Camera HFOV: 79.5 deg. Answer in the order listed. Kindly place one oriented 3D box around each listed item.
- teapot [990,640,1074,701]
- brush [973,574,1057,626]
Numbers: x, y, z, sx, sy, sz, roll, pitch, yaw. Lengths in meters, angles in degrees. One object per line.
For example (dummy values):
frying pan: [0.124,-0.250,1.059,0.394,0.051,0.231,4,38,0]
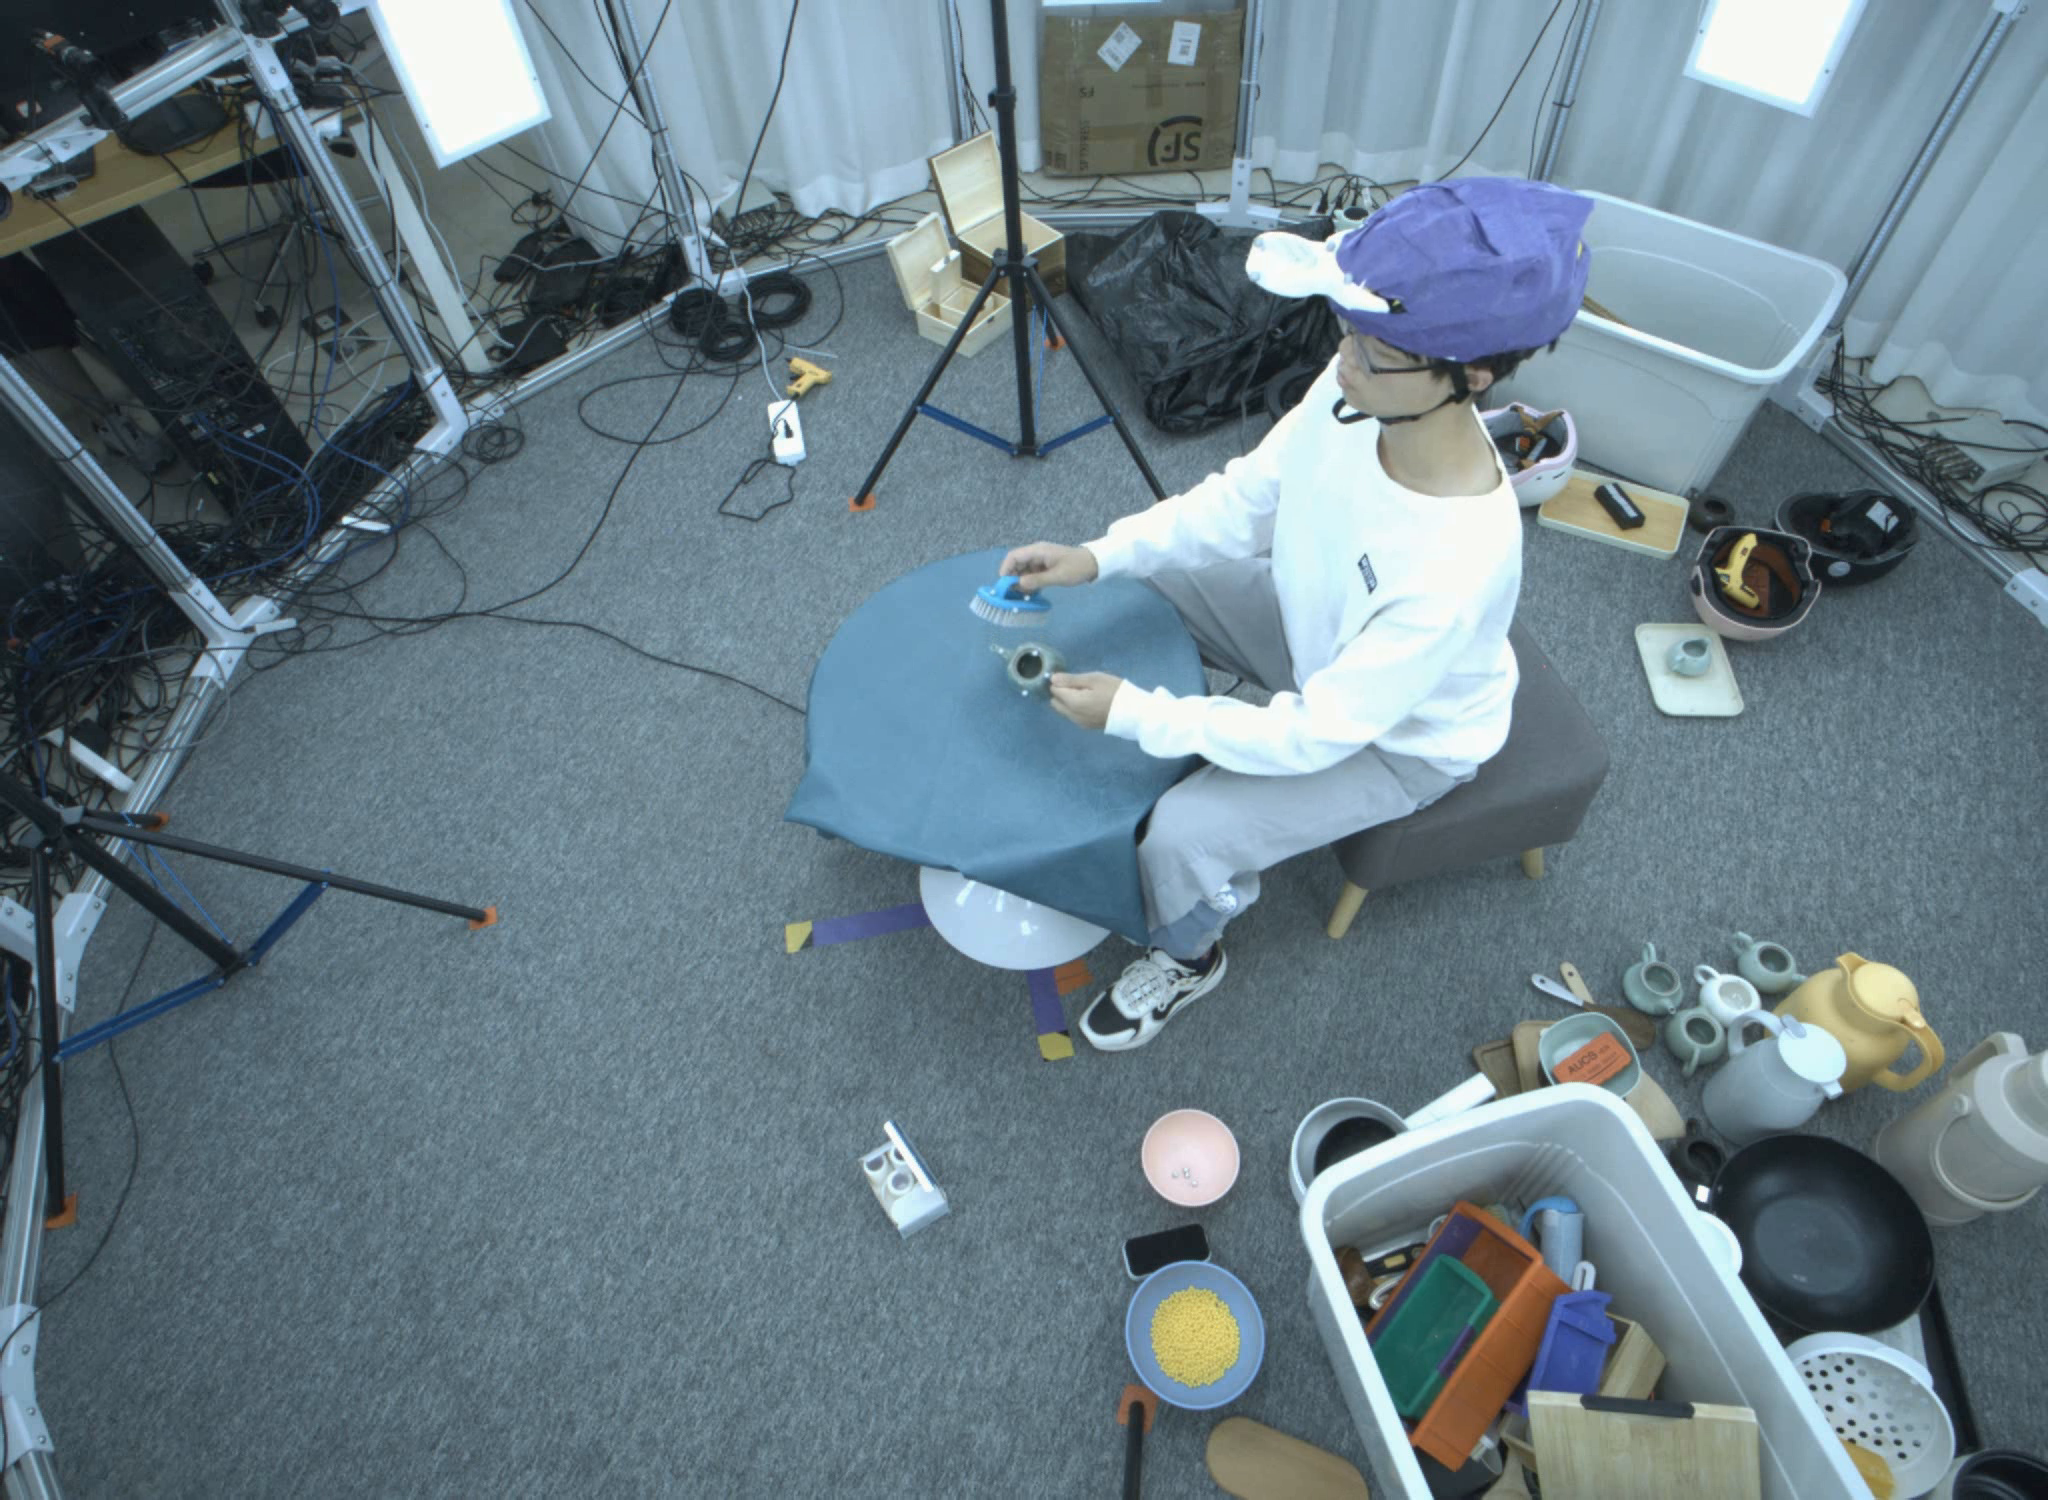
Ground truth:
teapot: [0.017,-0.116,1.745,0.131,0.076,0.079,29,93,15]
brush: [-0.011,-0.225,1.803,0.082,0.064,0.145,31,22,33]
